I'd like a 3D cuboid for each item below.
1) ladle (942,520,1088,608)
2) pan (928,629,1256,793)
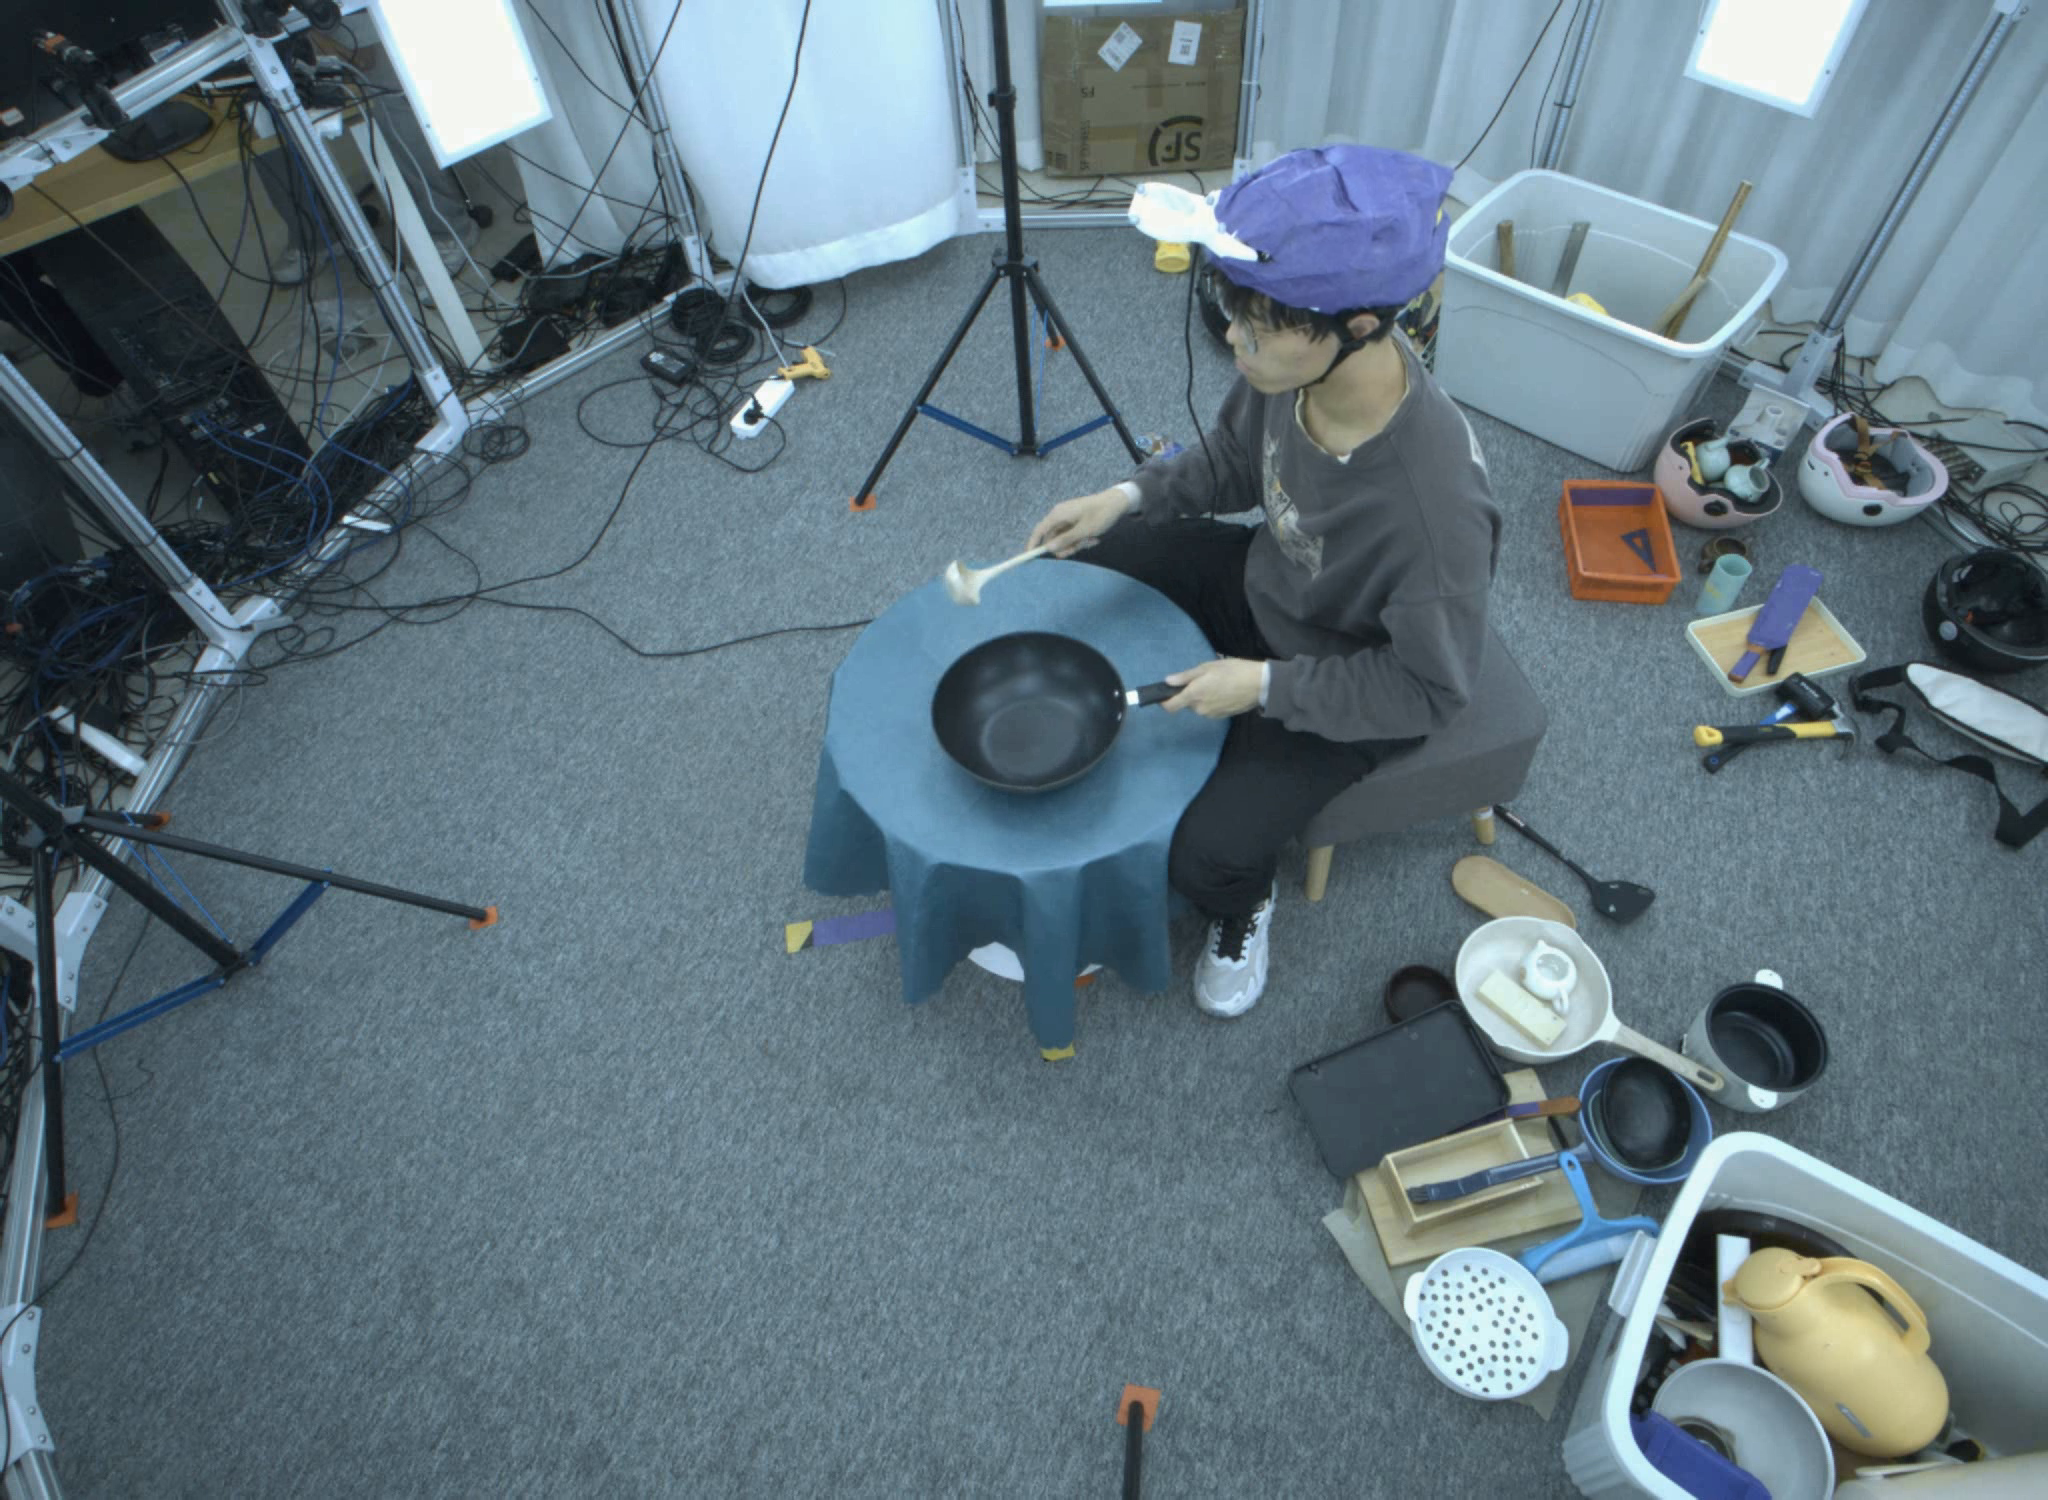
[{"bbox_3d":[-0.004,-0.289,1.813,0.256,0.072,0.072,-30,93,-14],"label":"ladle"},{"bbox_3d":[0.098,-0.052,1.765,0.464,0.088,0.284,-6,54,-2],"label":"pan"}]
